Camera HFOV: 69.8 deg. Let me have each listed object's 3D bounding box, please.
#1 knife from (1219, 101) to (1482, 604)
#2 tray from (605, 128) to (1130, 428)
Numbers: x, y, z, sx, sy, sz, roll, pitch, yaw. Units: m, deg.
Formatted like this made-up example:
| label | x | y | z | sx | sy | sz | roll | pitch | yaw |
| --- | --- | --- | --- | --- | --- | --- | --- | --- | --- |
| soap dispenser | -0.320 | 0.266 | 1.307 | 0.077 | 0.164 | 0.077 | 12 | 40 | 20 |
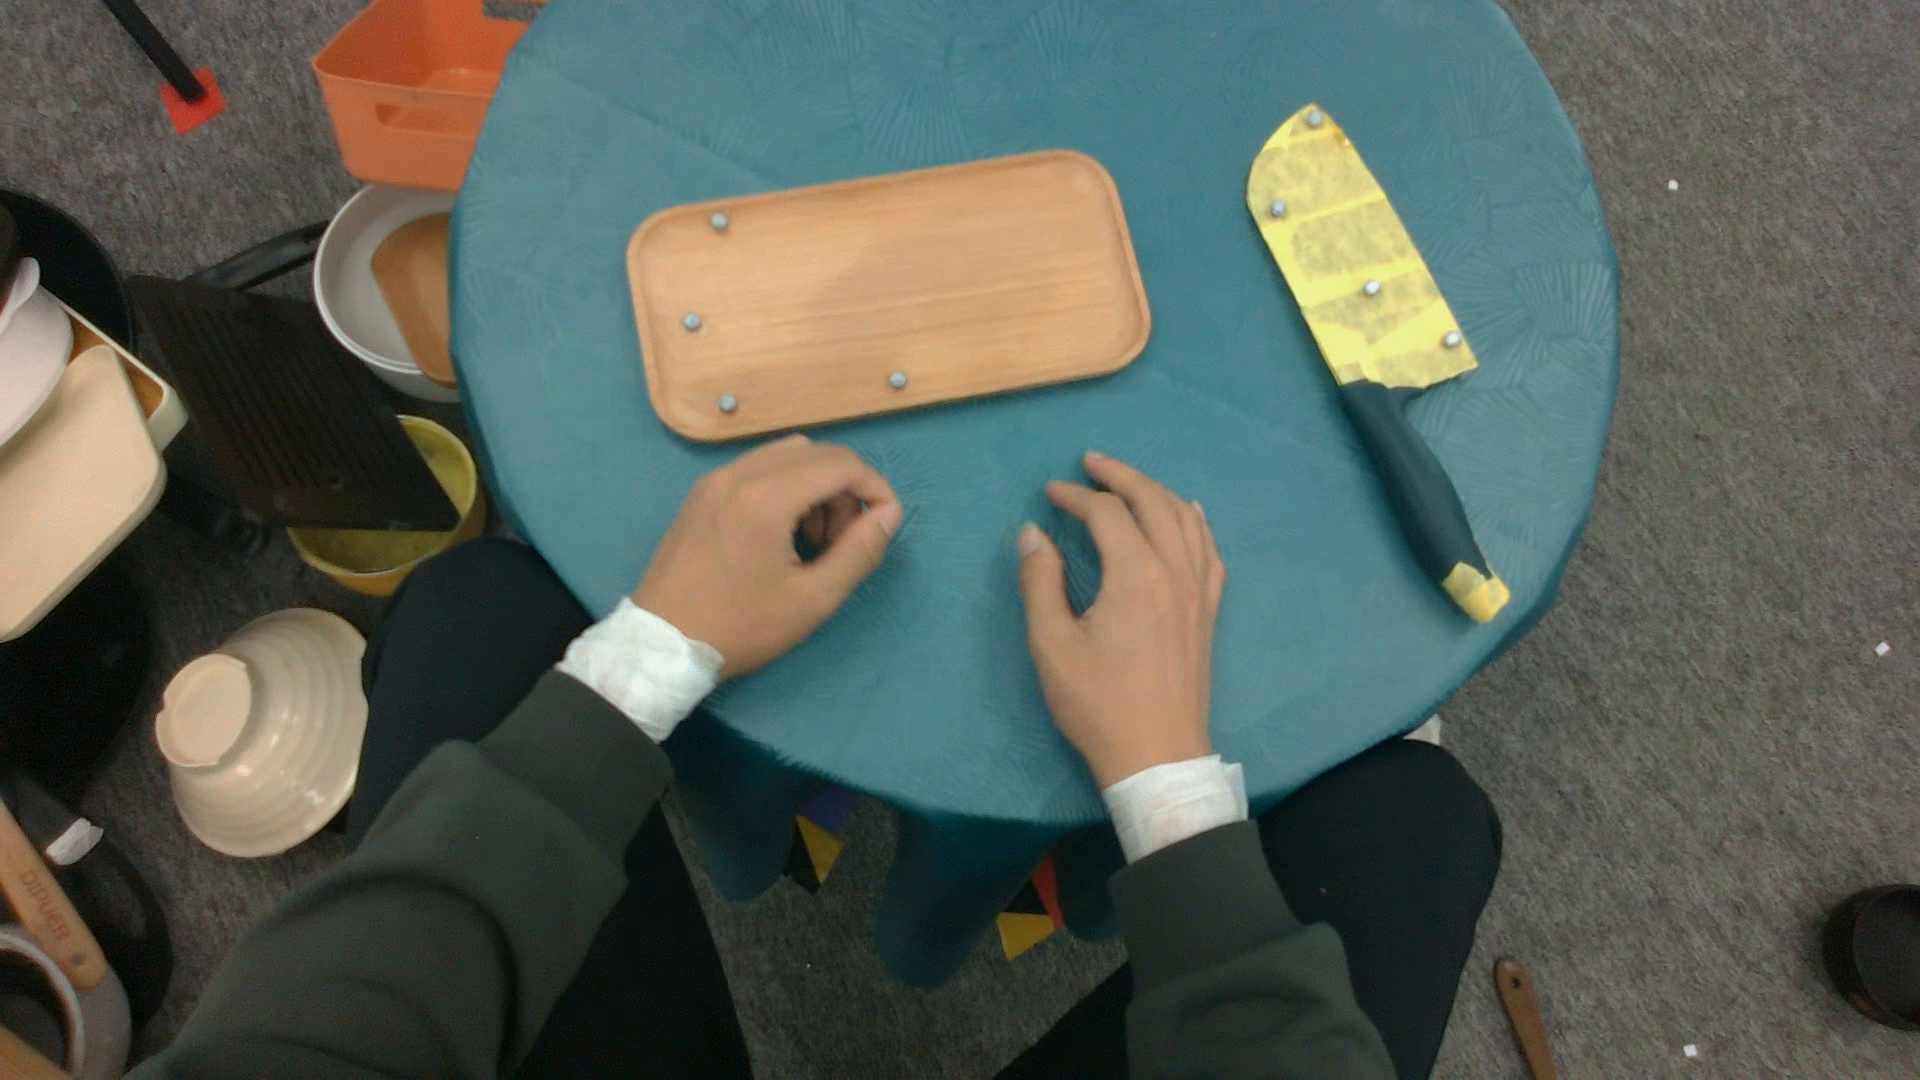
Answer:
| label | x | y | z | sx | sy | sz | roll | pitch | yaw |
| --- | --- | --- | --- | --- | --- | --- | --- | --- | --- |
| knife | 0.207 | -0.105 | 0.704 | 0.081 | 0.027 | 0.290 | -17 | 74 | -8 |
| tray | -0.045 | -0.133 | 0.689 | 0.251 | 0.023 | 0.131 | -11 | 77 | -9 |
